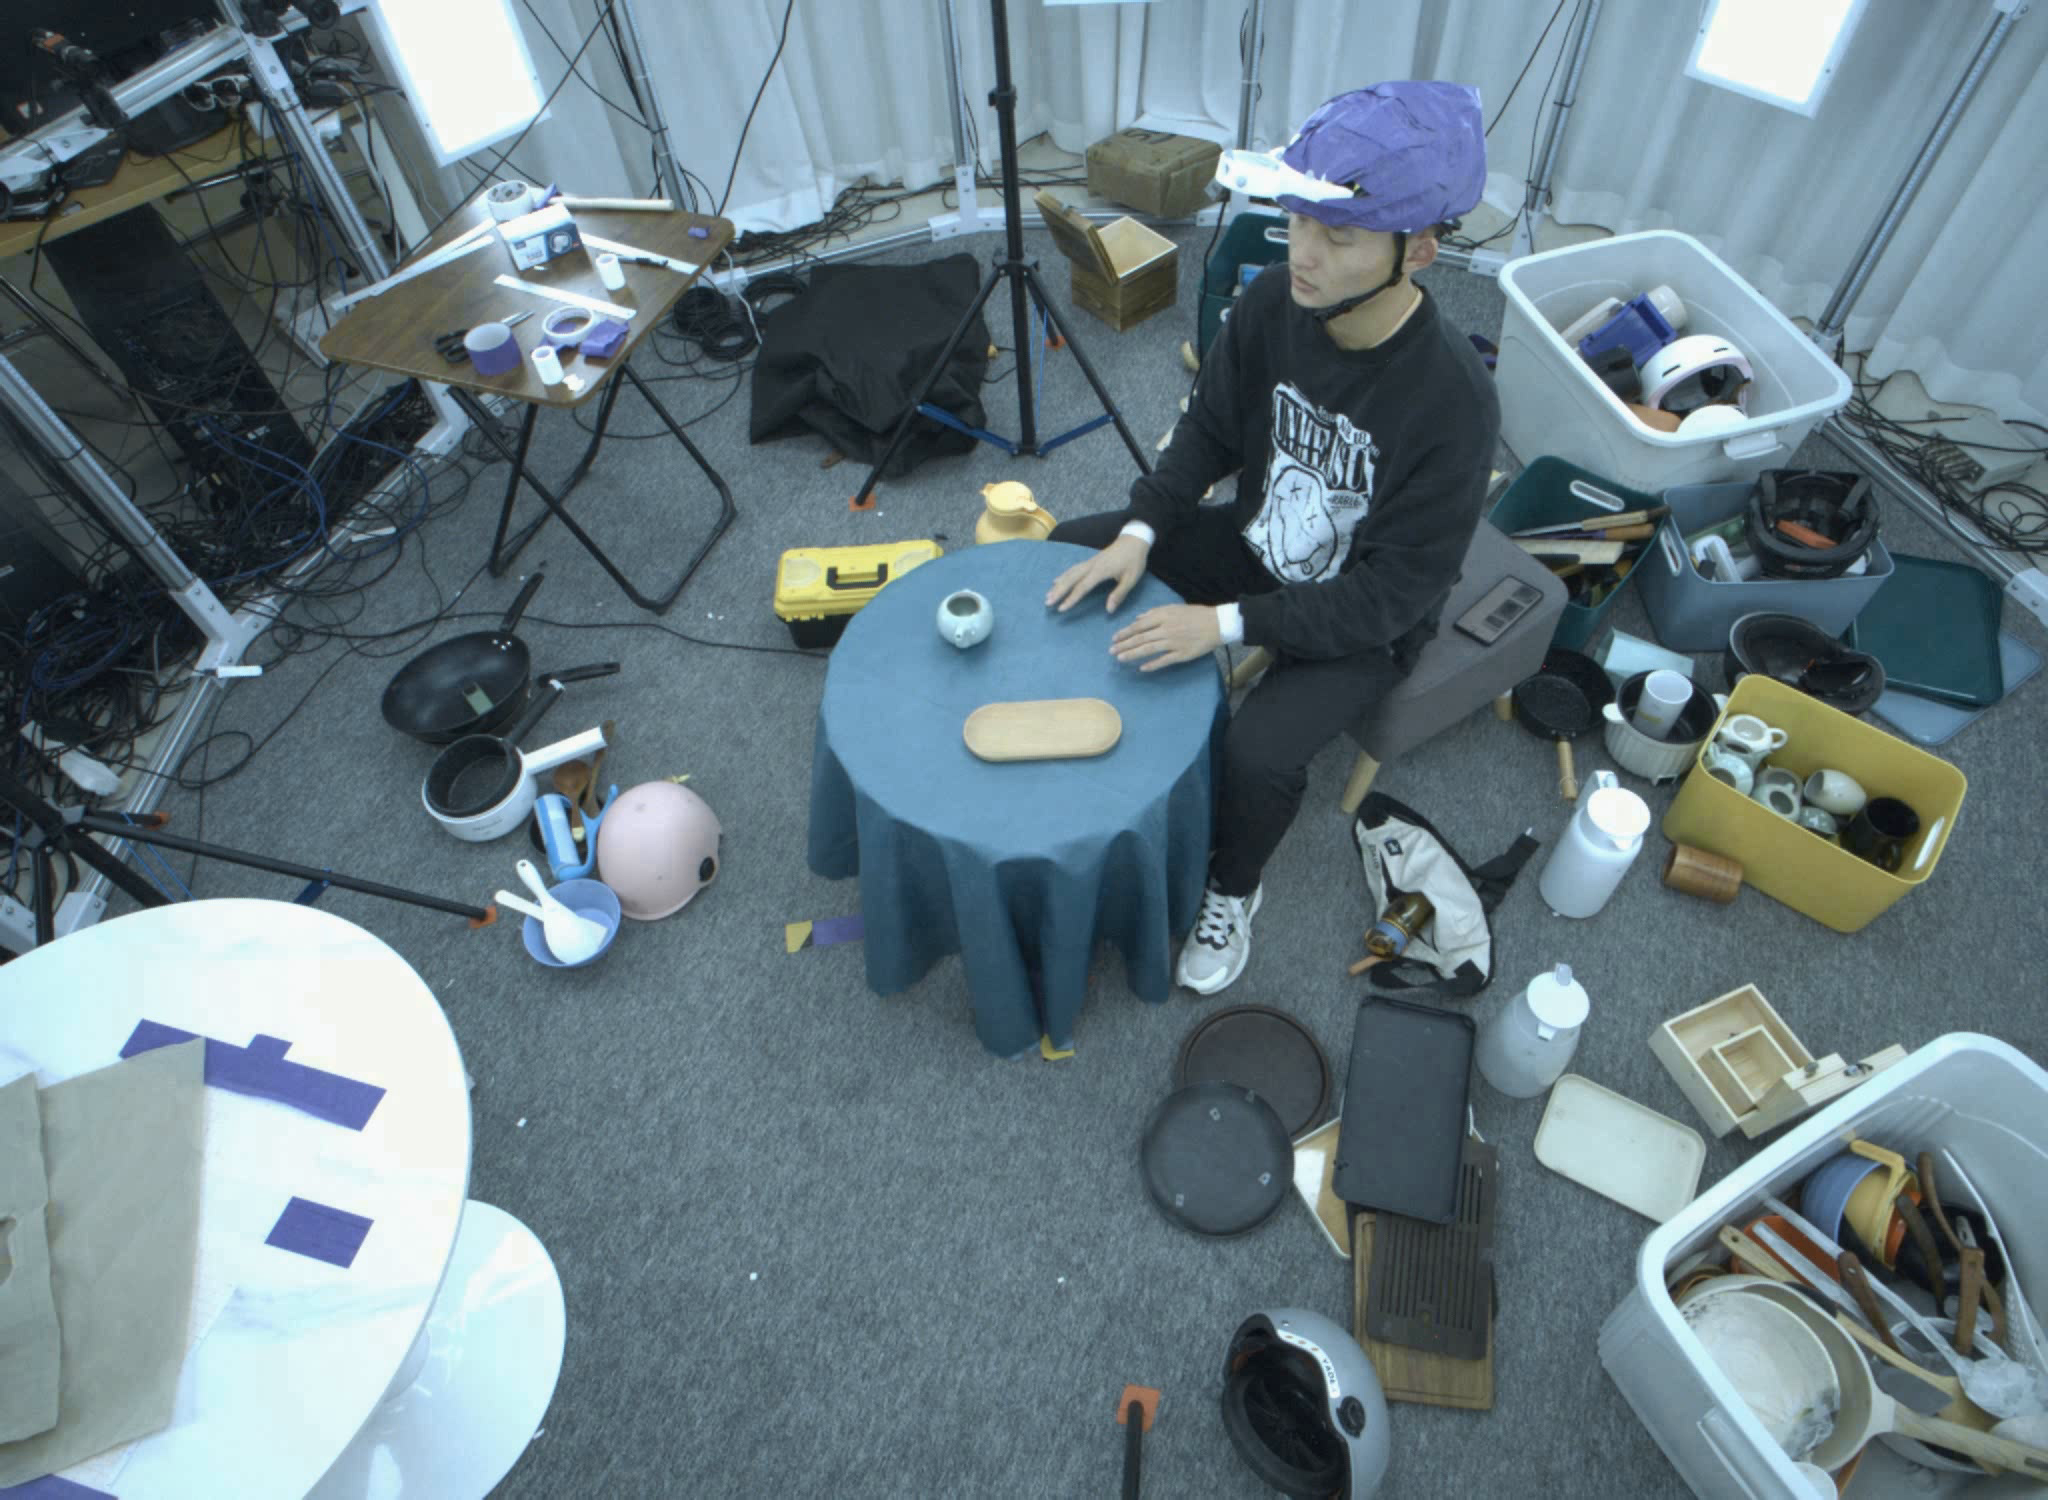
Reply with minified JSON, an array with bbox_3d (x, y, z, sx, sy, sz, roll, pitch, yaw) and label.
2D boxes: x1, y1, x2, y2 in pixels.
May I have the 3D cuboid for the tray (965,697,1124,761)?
[{"bbox_3d":[0.030,-0.030,1.794,0.231,0.020,0.100,-3,56,-2],"label":"tray"}]

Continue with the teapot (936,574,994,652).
[{"bbox_3d":[-0.091,-0.197,1.883,0.088,0.075,0.142,3,54,4],"label":"teapot"}]
